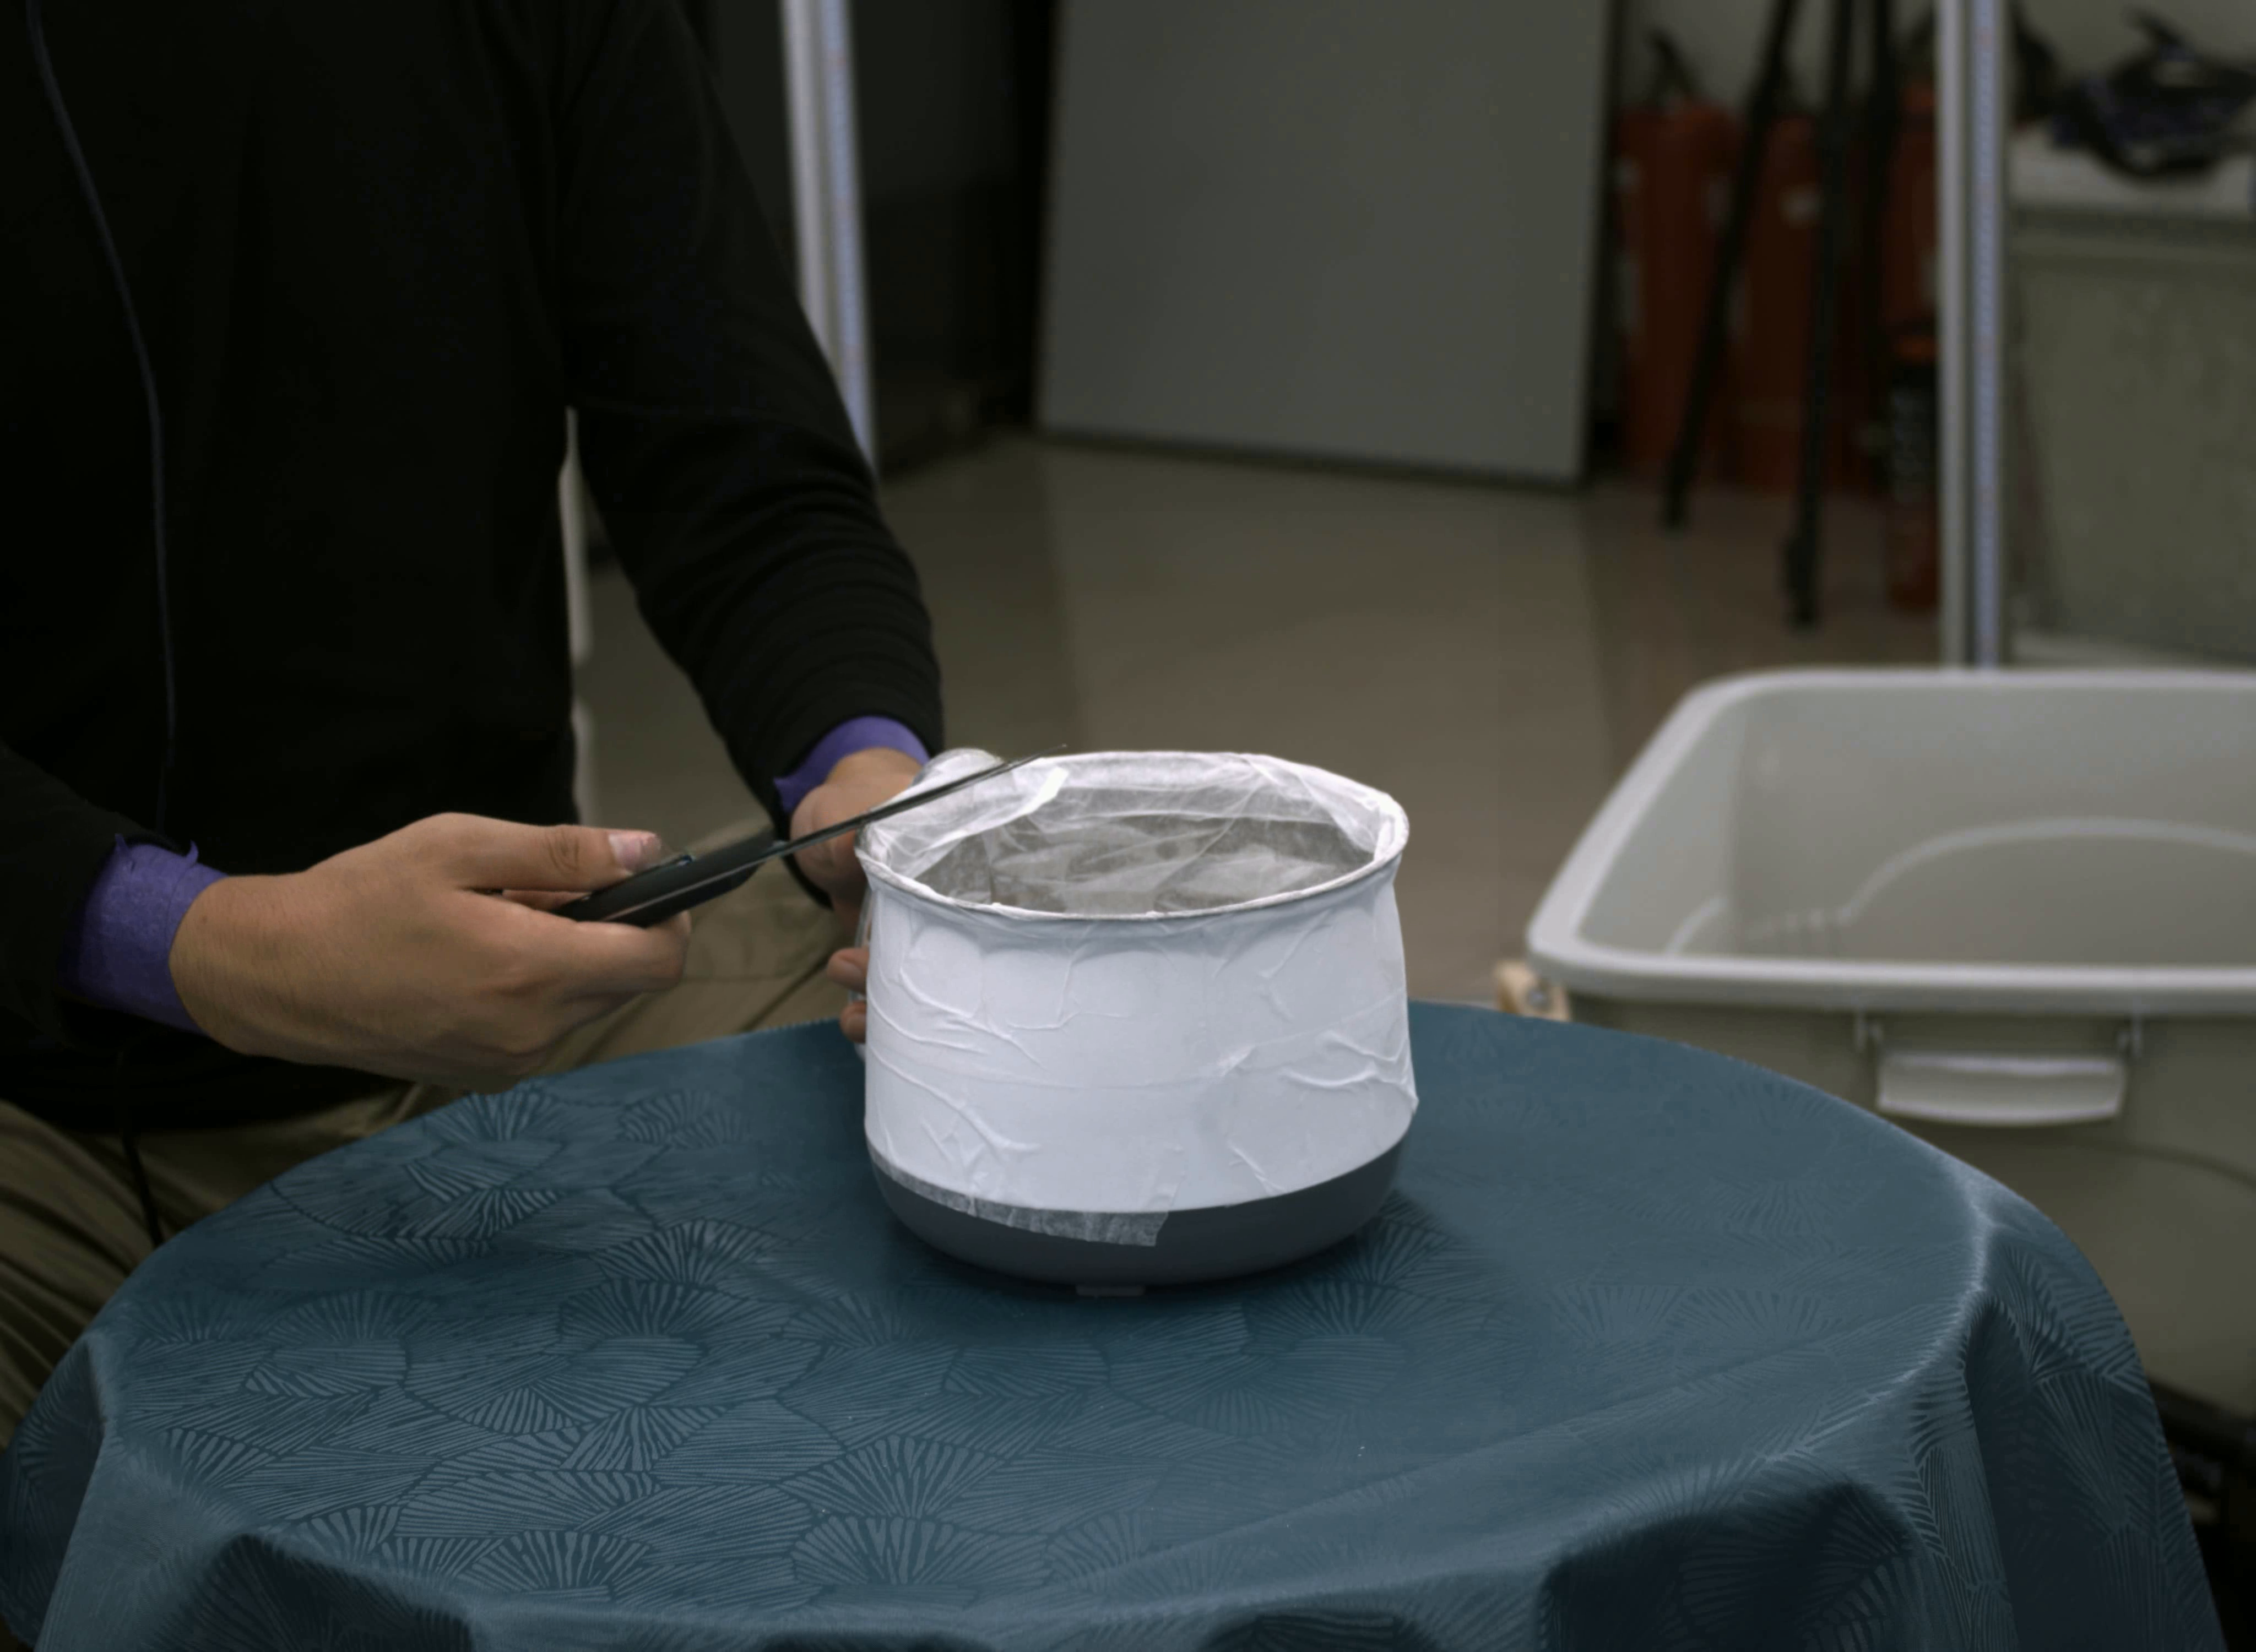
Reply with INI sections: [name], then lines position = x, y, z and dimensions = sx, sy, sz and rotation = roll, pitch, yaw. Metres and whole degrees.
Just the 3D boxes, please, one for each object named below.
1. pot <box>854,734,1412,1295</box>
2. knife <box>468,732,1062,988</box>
[pot]
position = -0.014, 0.053, 1.739
dimensions = 0.175, 0.138, 0.236
rotation = -13, 21, -35
[knife]
position = -0.119, 0.010, 1.716
dimensions = 0.239, 0.016, 0.024
rotation = -21, 6, 29
